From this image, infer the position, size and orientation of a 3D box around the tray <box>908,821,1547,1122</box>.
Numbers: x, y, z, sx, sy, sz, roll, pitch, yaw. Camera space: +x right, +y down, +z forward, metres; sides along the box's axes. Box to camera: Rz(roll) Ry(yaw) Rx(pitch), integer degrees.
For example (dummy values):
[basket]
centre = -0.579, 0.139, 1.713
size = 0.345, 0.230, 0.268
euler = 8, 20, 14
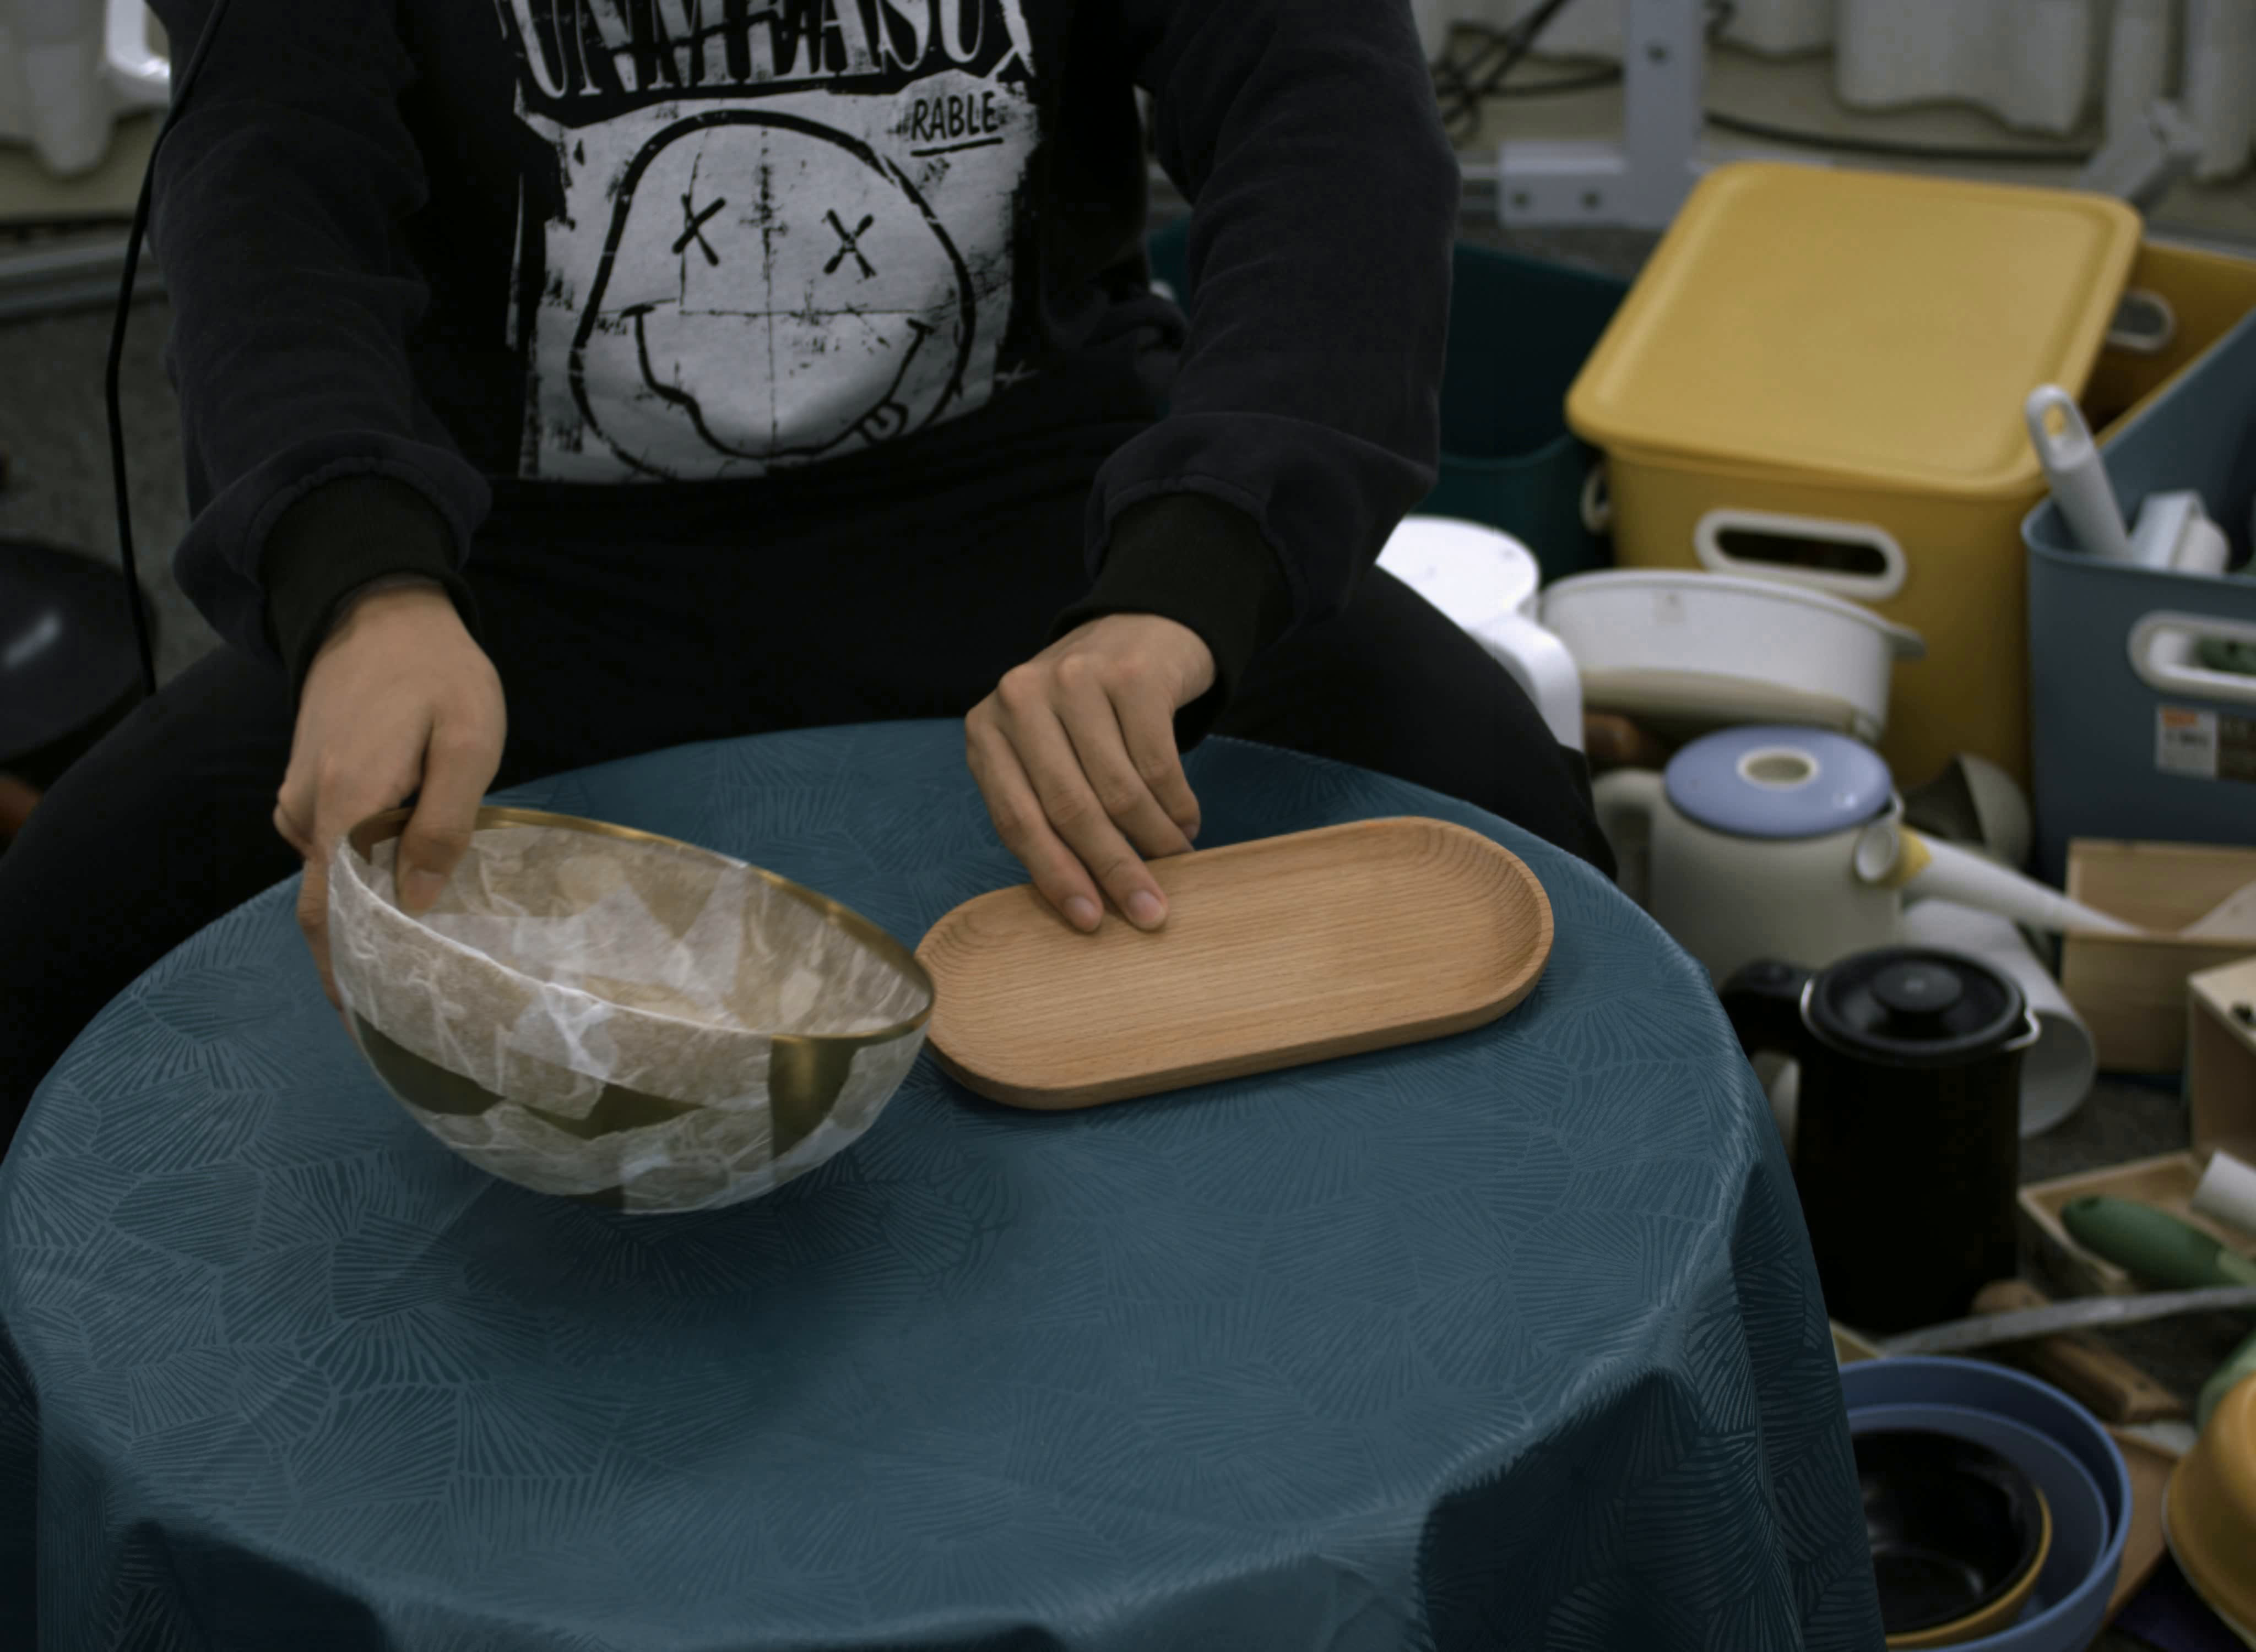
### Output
[tray]
centre = 0.034, 0.051, 1.954
size = 0.231, 0.020, 0.103
euler = -13, 42, -14

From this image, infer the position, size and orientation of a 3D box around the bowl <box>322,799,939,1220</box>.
[bowl]
centre = -0.169, 0.072, 1.832
size = 0.214, 0.094, 0.216
euler = 16, 12, -3
